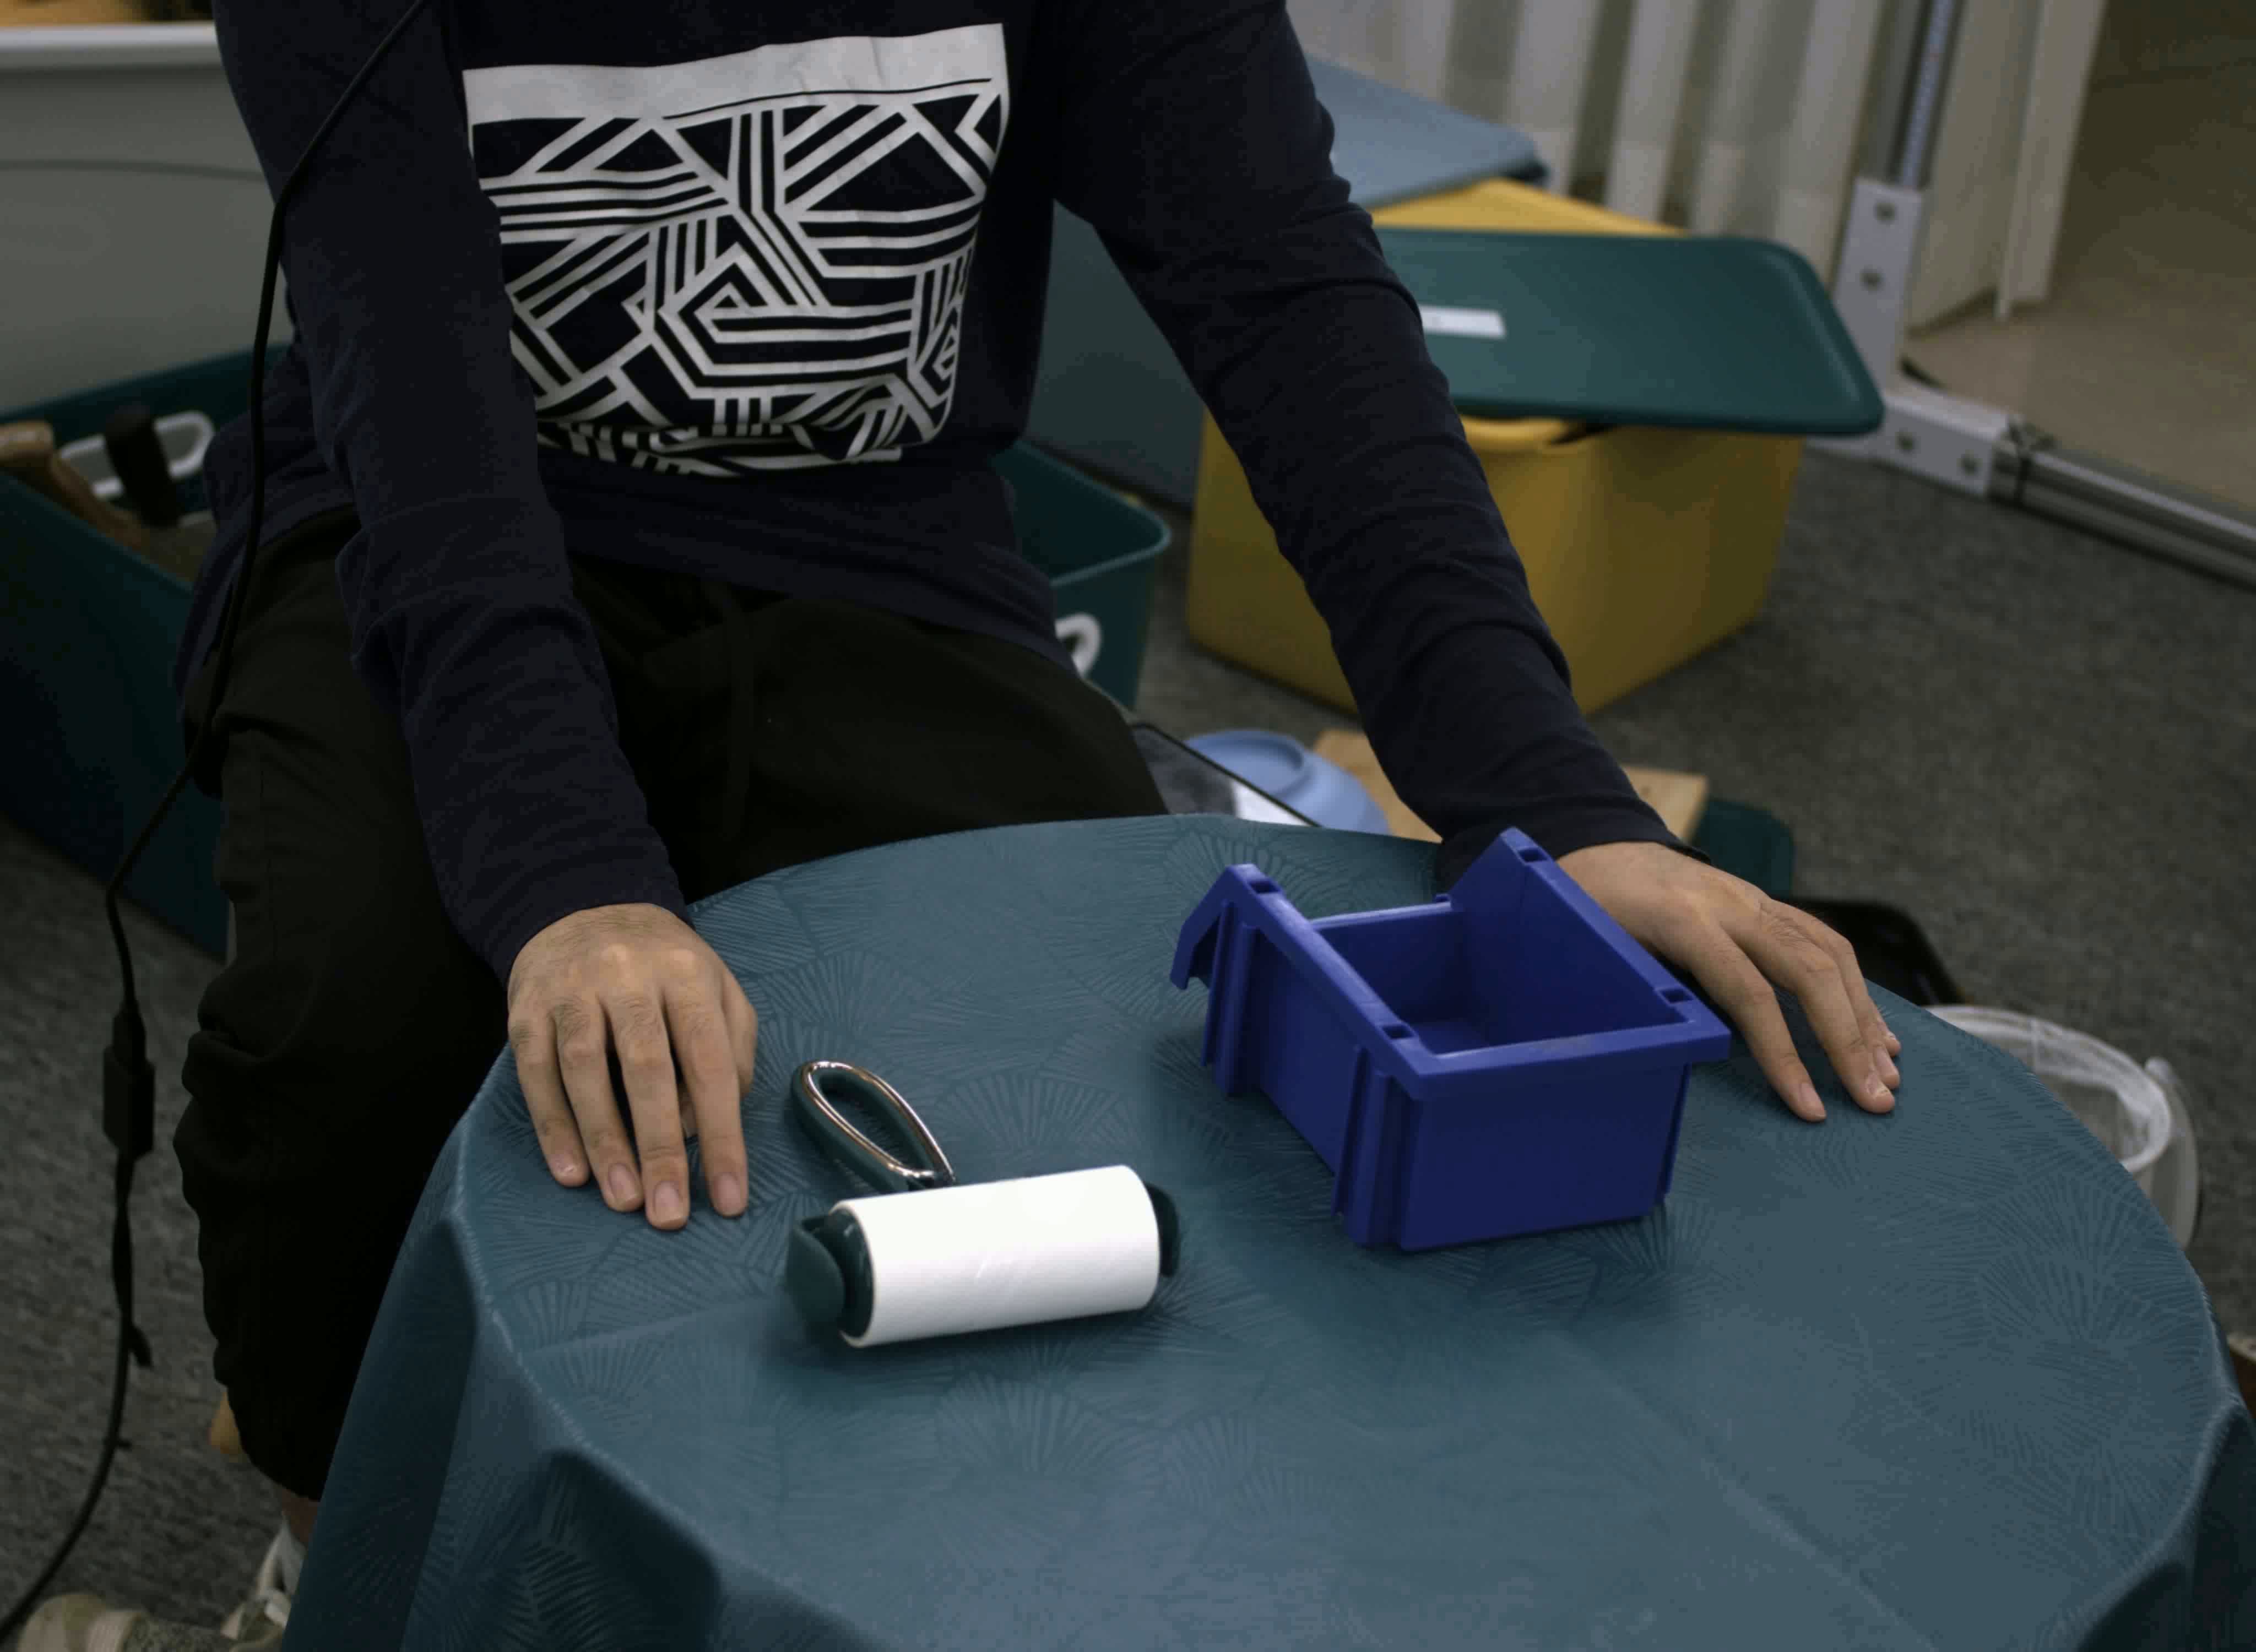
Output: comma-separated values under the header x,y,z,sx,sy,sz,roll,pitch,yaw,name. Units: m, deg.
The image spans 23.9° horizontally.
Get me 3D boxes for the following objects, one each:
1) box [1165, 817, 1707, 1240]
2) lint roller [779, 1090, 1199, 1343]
x,y,z,sx,sy,sz,roll,pitch,yaw,name
0.101,0.065,1.855,0.124,0.081,0.181,-6,32,-22,box
-0.073,0.111,1.769,0.133,0.048,0.181,-5,26,-24,lint roller
